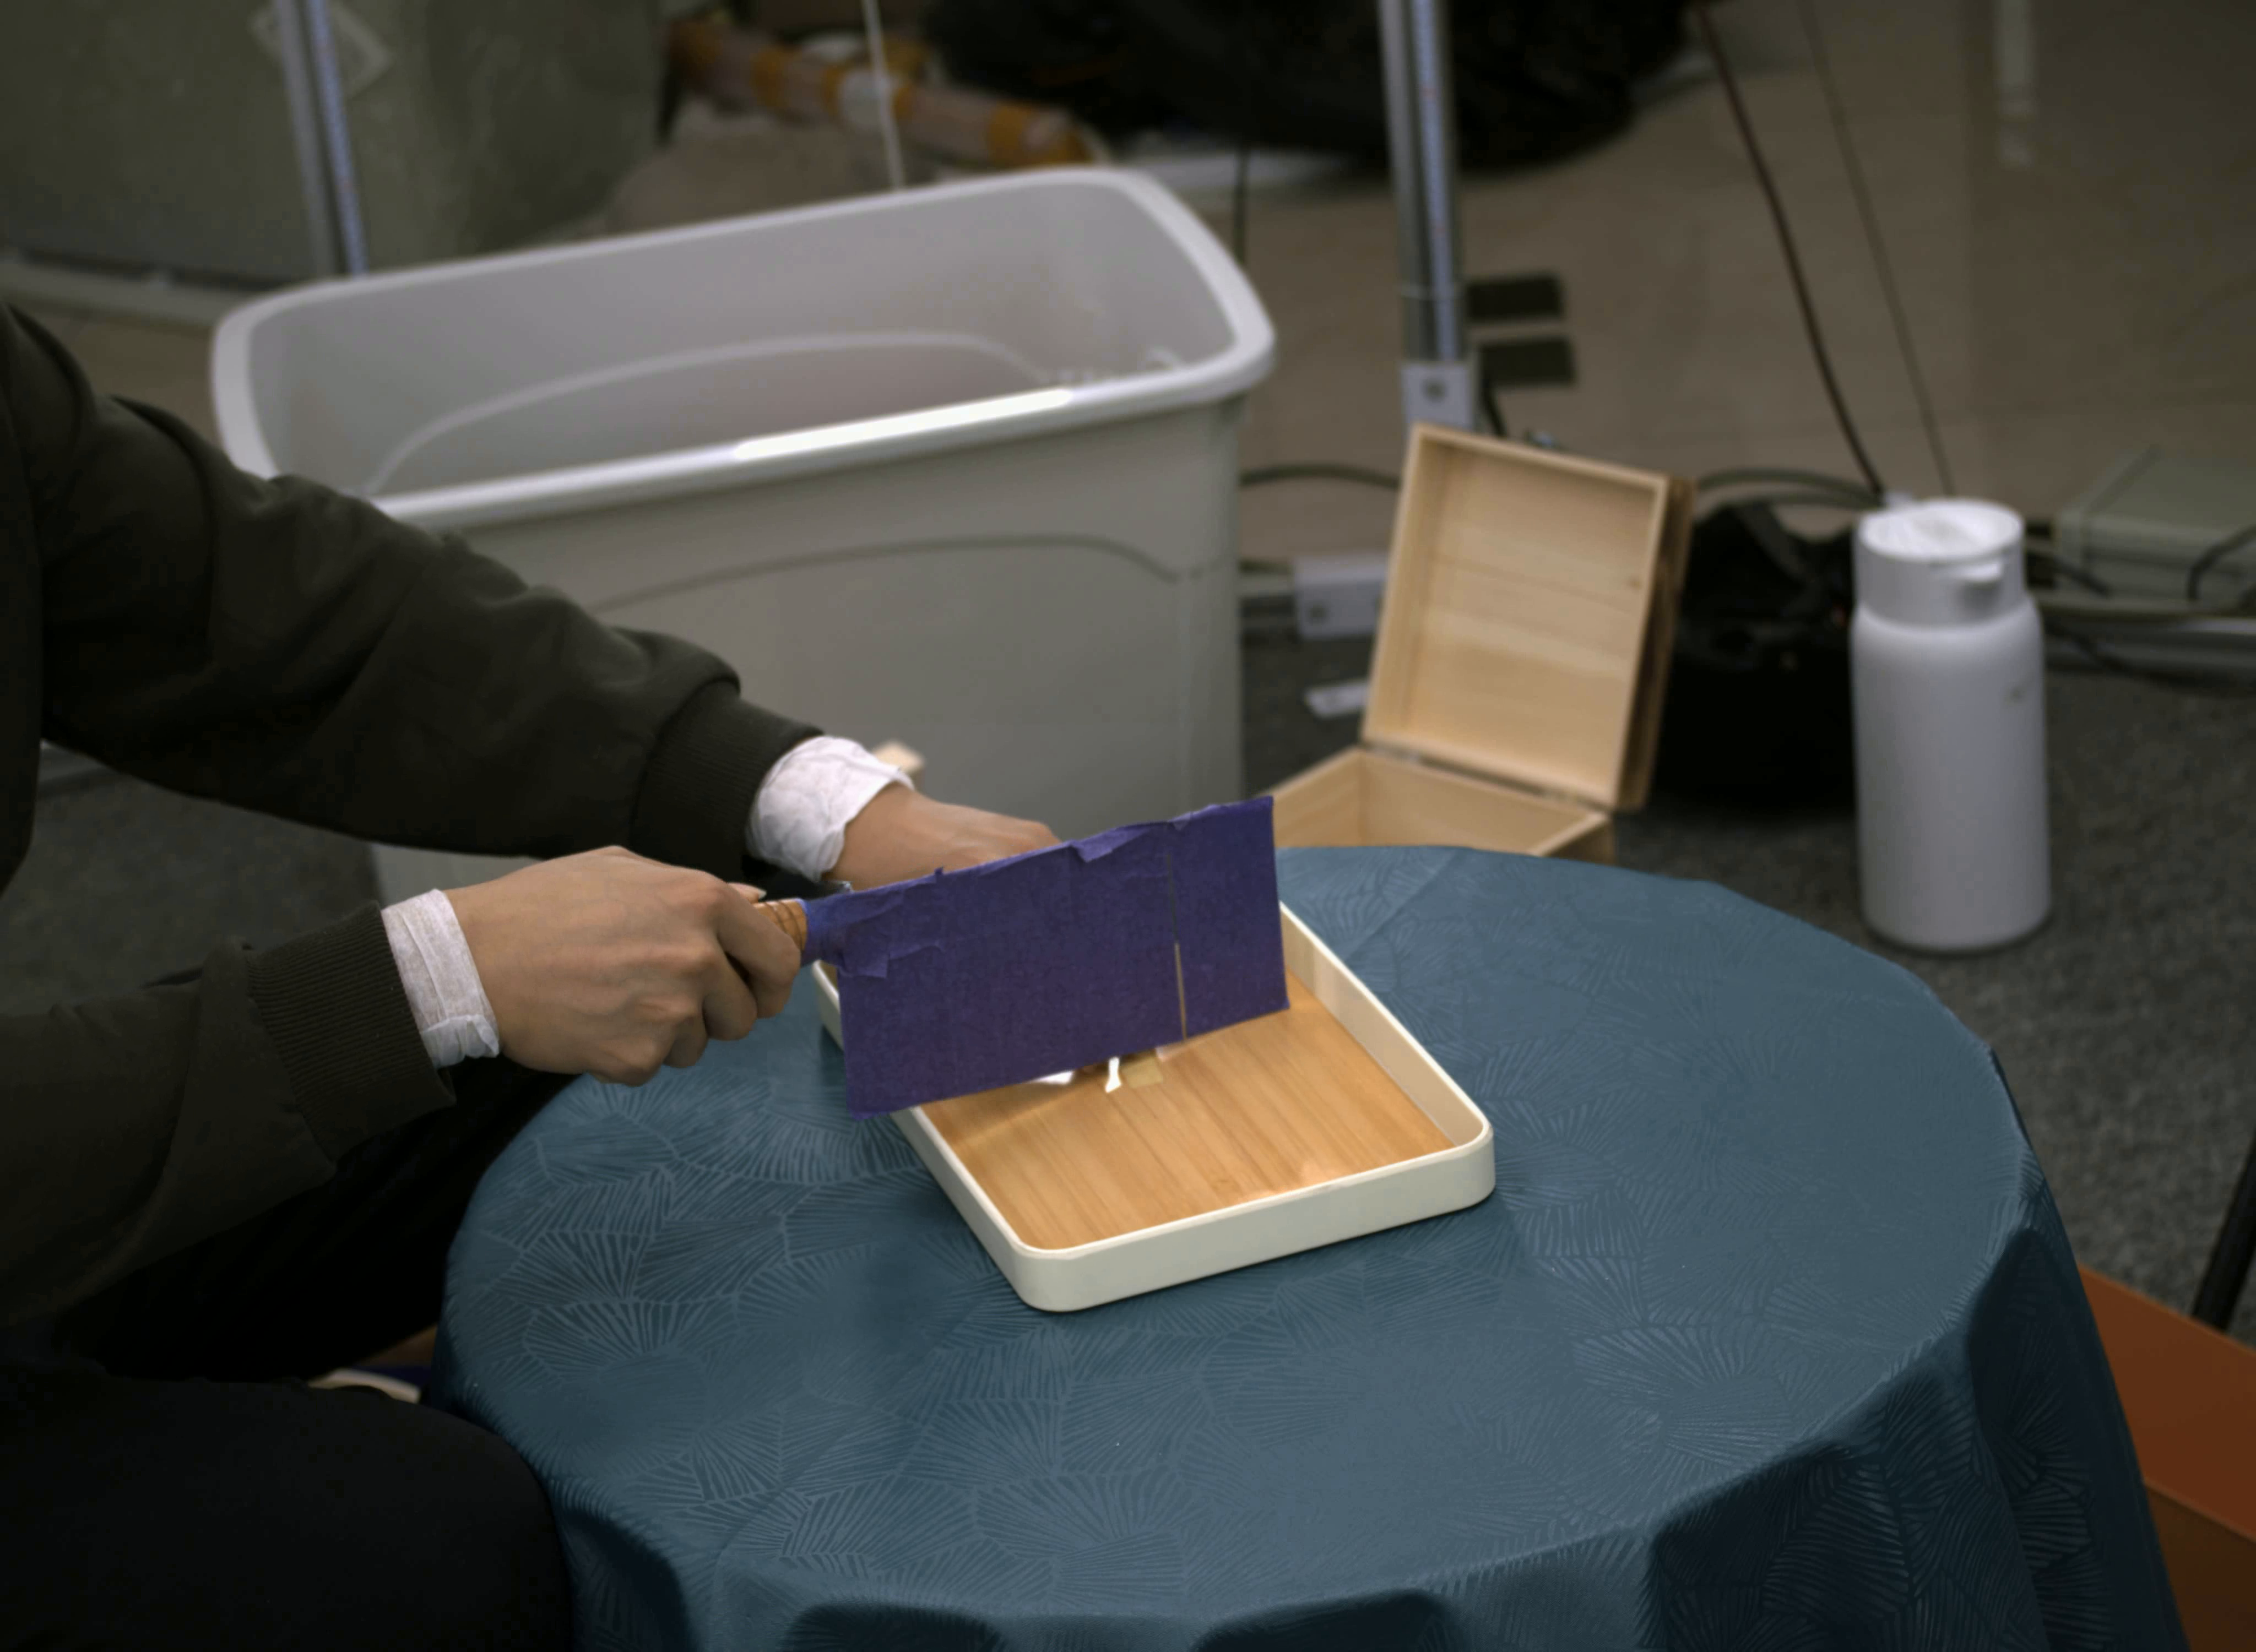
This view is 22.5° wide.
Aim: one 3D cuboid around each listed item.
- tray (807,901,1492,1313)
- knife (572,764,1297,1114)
[{"bbox_3d":[0.003,0.095,2.213,0.191,0.028,0.296,-14,26,-15],"label":"tray"},{"bbox_3d":[-0.064,0.058,2.170,0.314,0.105,0.032,-14,18,-29],"label":"knife"}]
